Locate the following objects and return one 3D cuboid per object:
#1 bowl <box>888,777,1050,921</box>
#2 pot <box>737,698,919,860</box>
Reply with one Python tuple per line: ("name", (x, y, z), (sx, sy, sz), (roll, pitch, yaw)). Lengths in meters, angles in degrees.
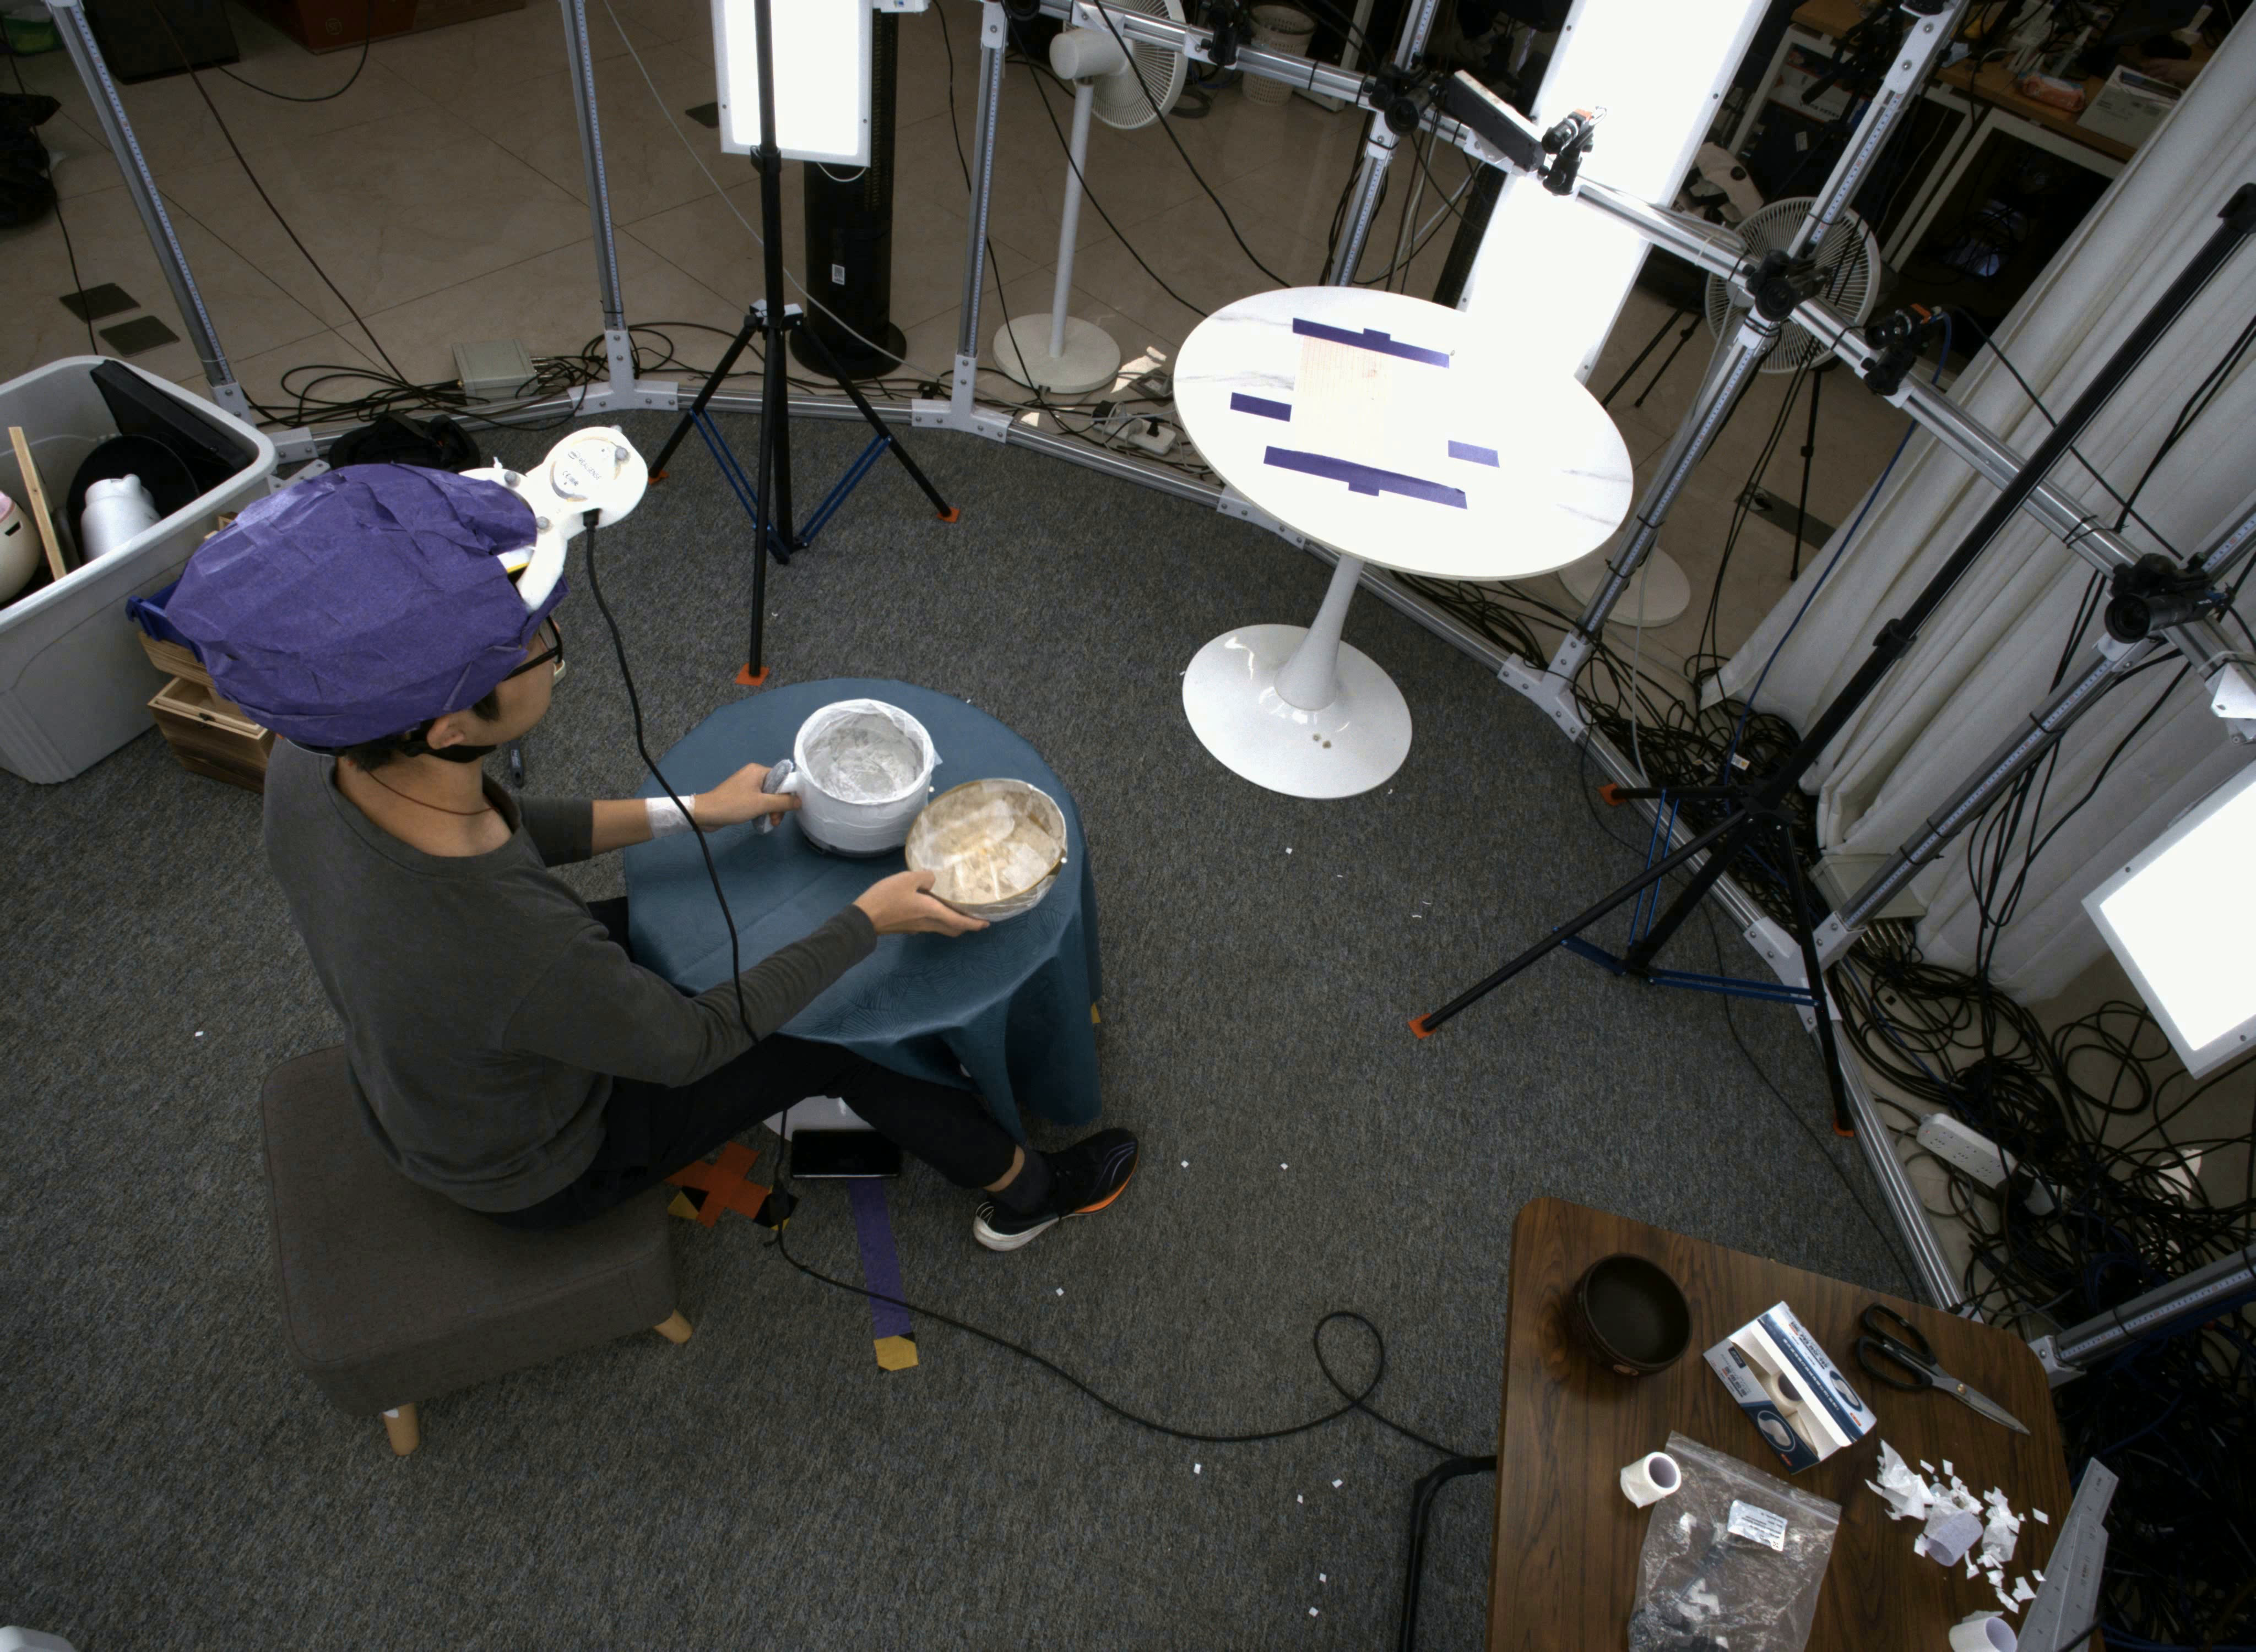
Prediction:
("bowl", (-0.196, 0.044, 1.651), (0.211, 0.098, 0.211), (-3, 52, 5))
("pot", (-0.392, -0.051, 1.687), (0.235, 0.139, 0.174), (-15, 58, -27))
